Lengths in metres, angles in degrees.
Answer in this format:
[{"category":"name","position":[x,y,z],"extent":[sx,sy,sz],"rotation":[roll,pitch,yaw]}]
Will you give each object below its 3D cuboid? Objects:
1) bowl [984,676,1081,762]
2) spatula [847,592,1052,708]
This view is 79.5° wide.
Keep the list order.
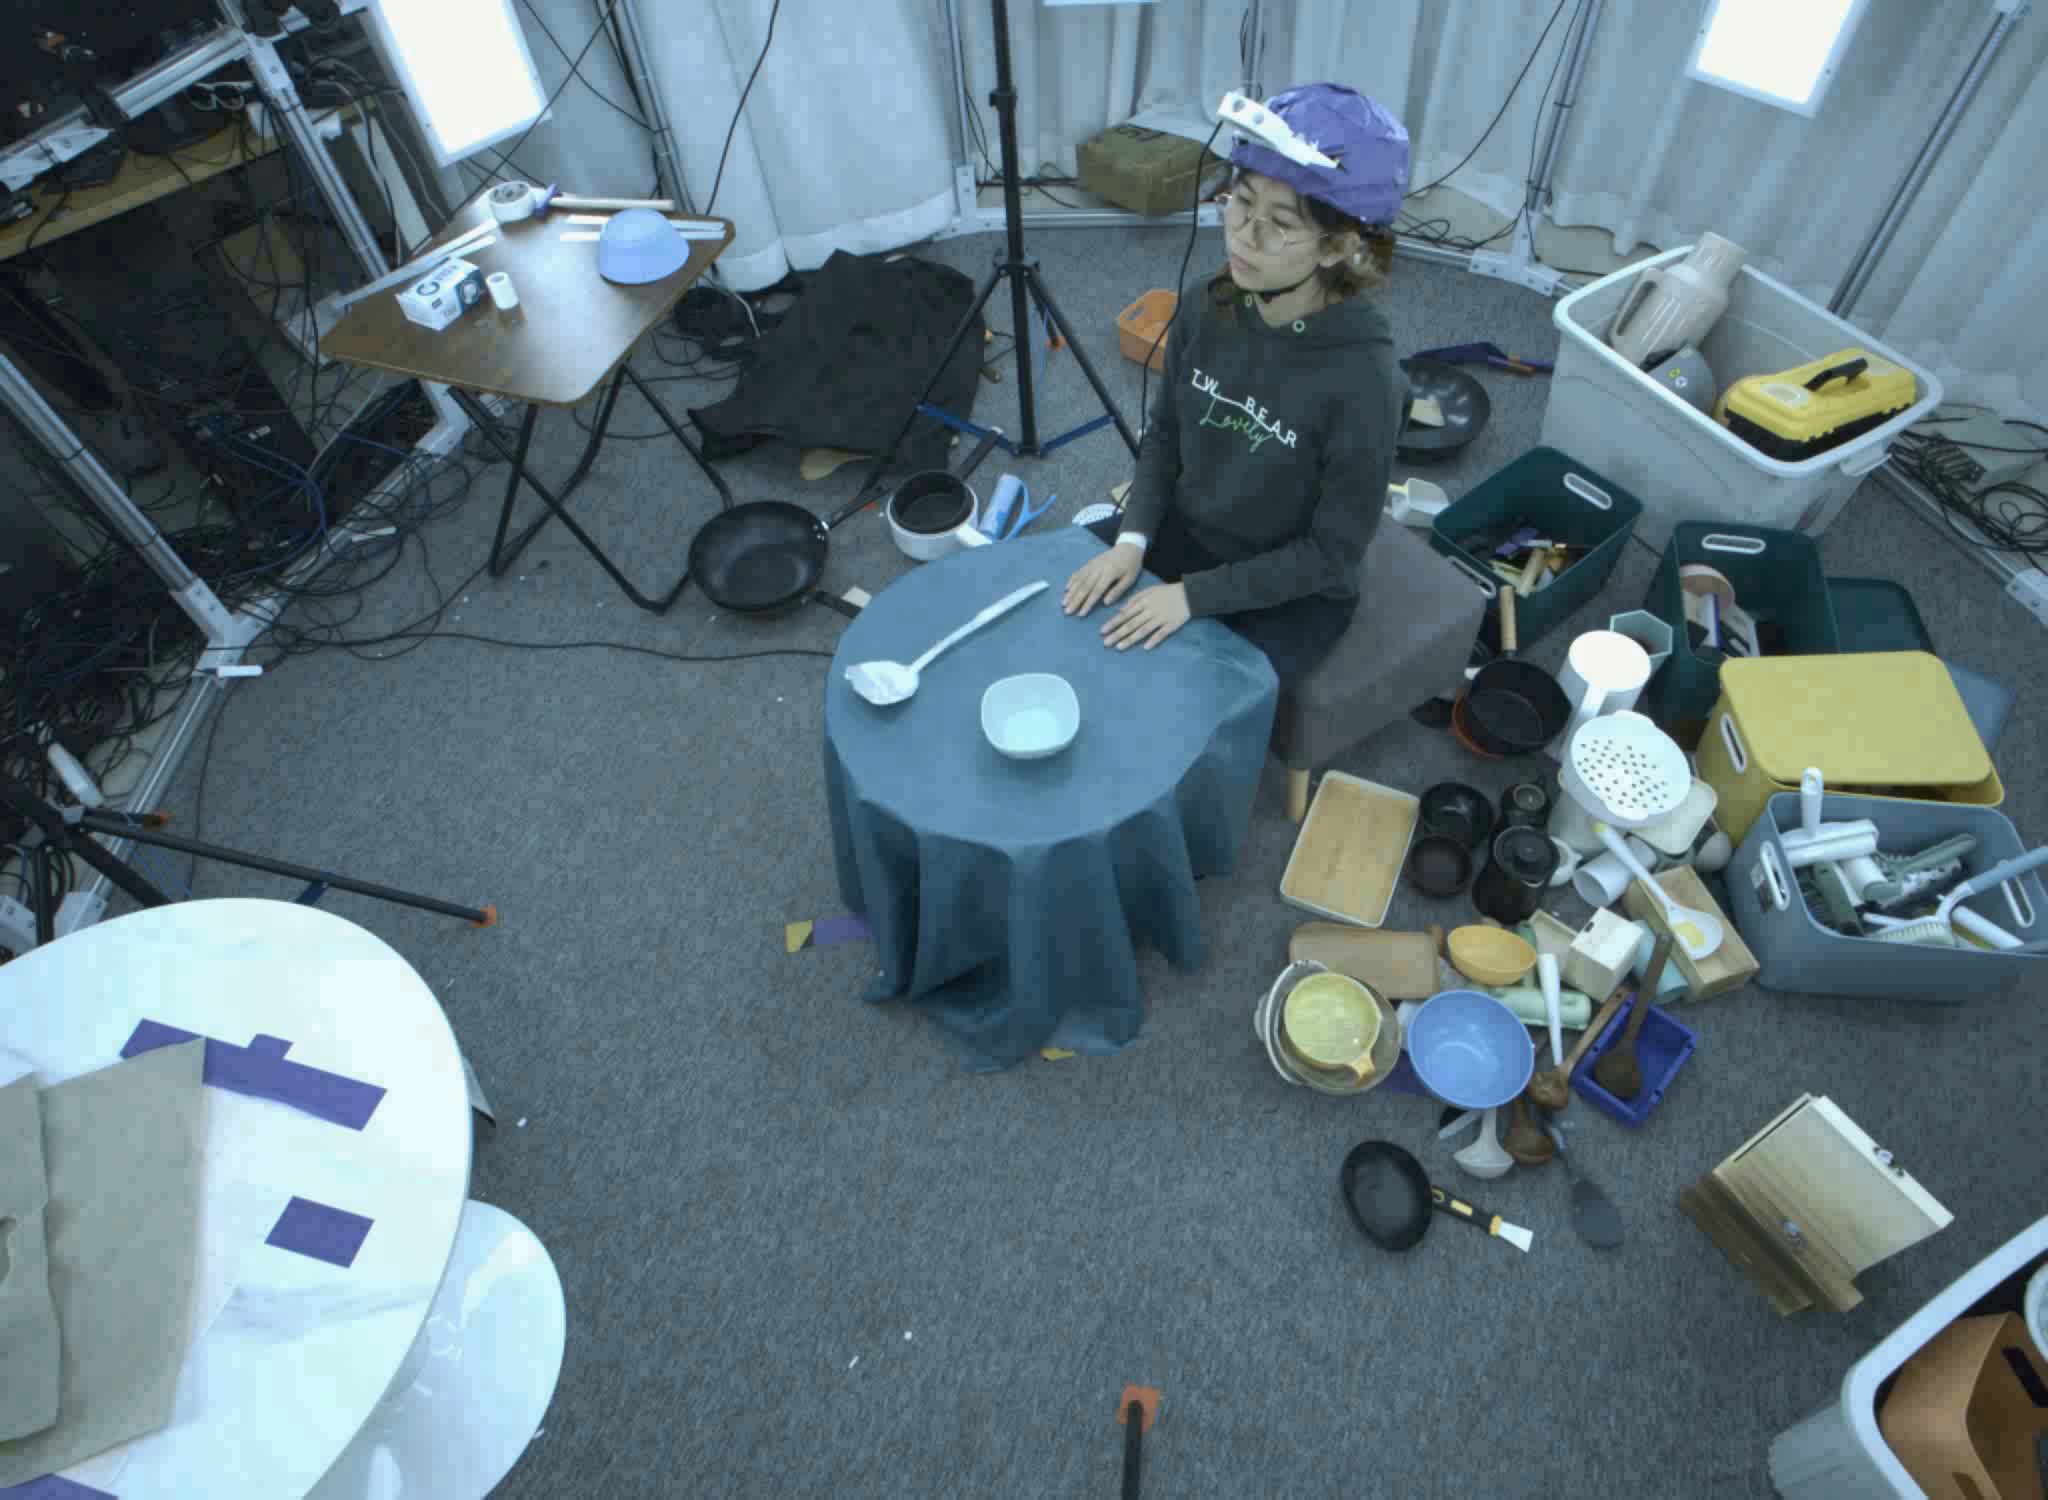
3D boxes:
[{"category":"bowl","position":[0.014,-0.034,1.787],"extent":[0.151,0.059,0.150],"rotation":[-1,57,2]},{"category":"spatula","position":[-0.105,-0.169,1.896],"extent":[0.368,0.045,0.097],"rotation":[-35,59,-20]}]
